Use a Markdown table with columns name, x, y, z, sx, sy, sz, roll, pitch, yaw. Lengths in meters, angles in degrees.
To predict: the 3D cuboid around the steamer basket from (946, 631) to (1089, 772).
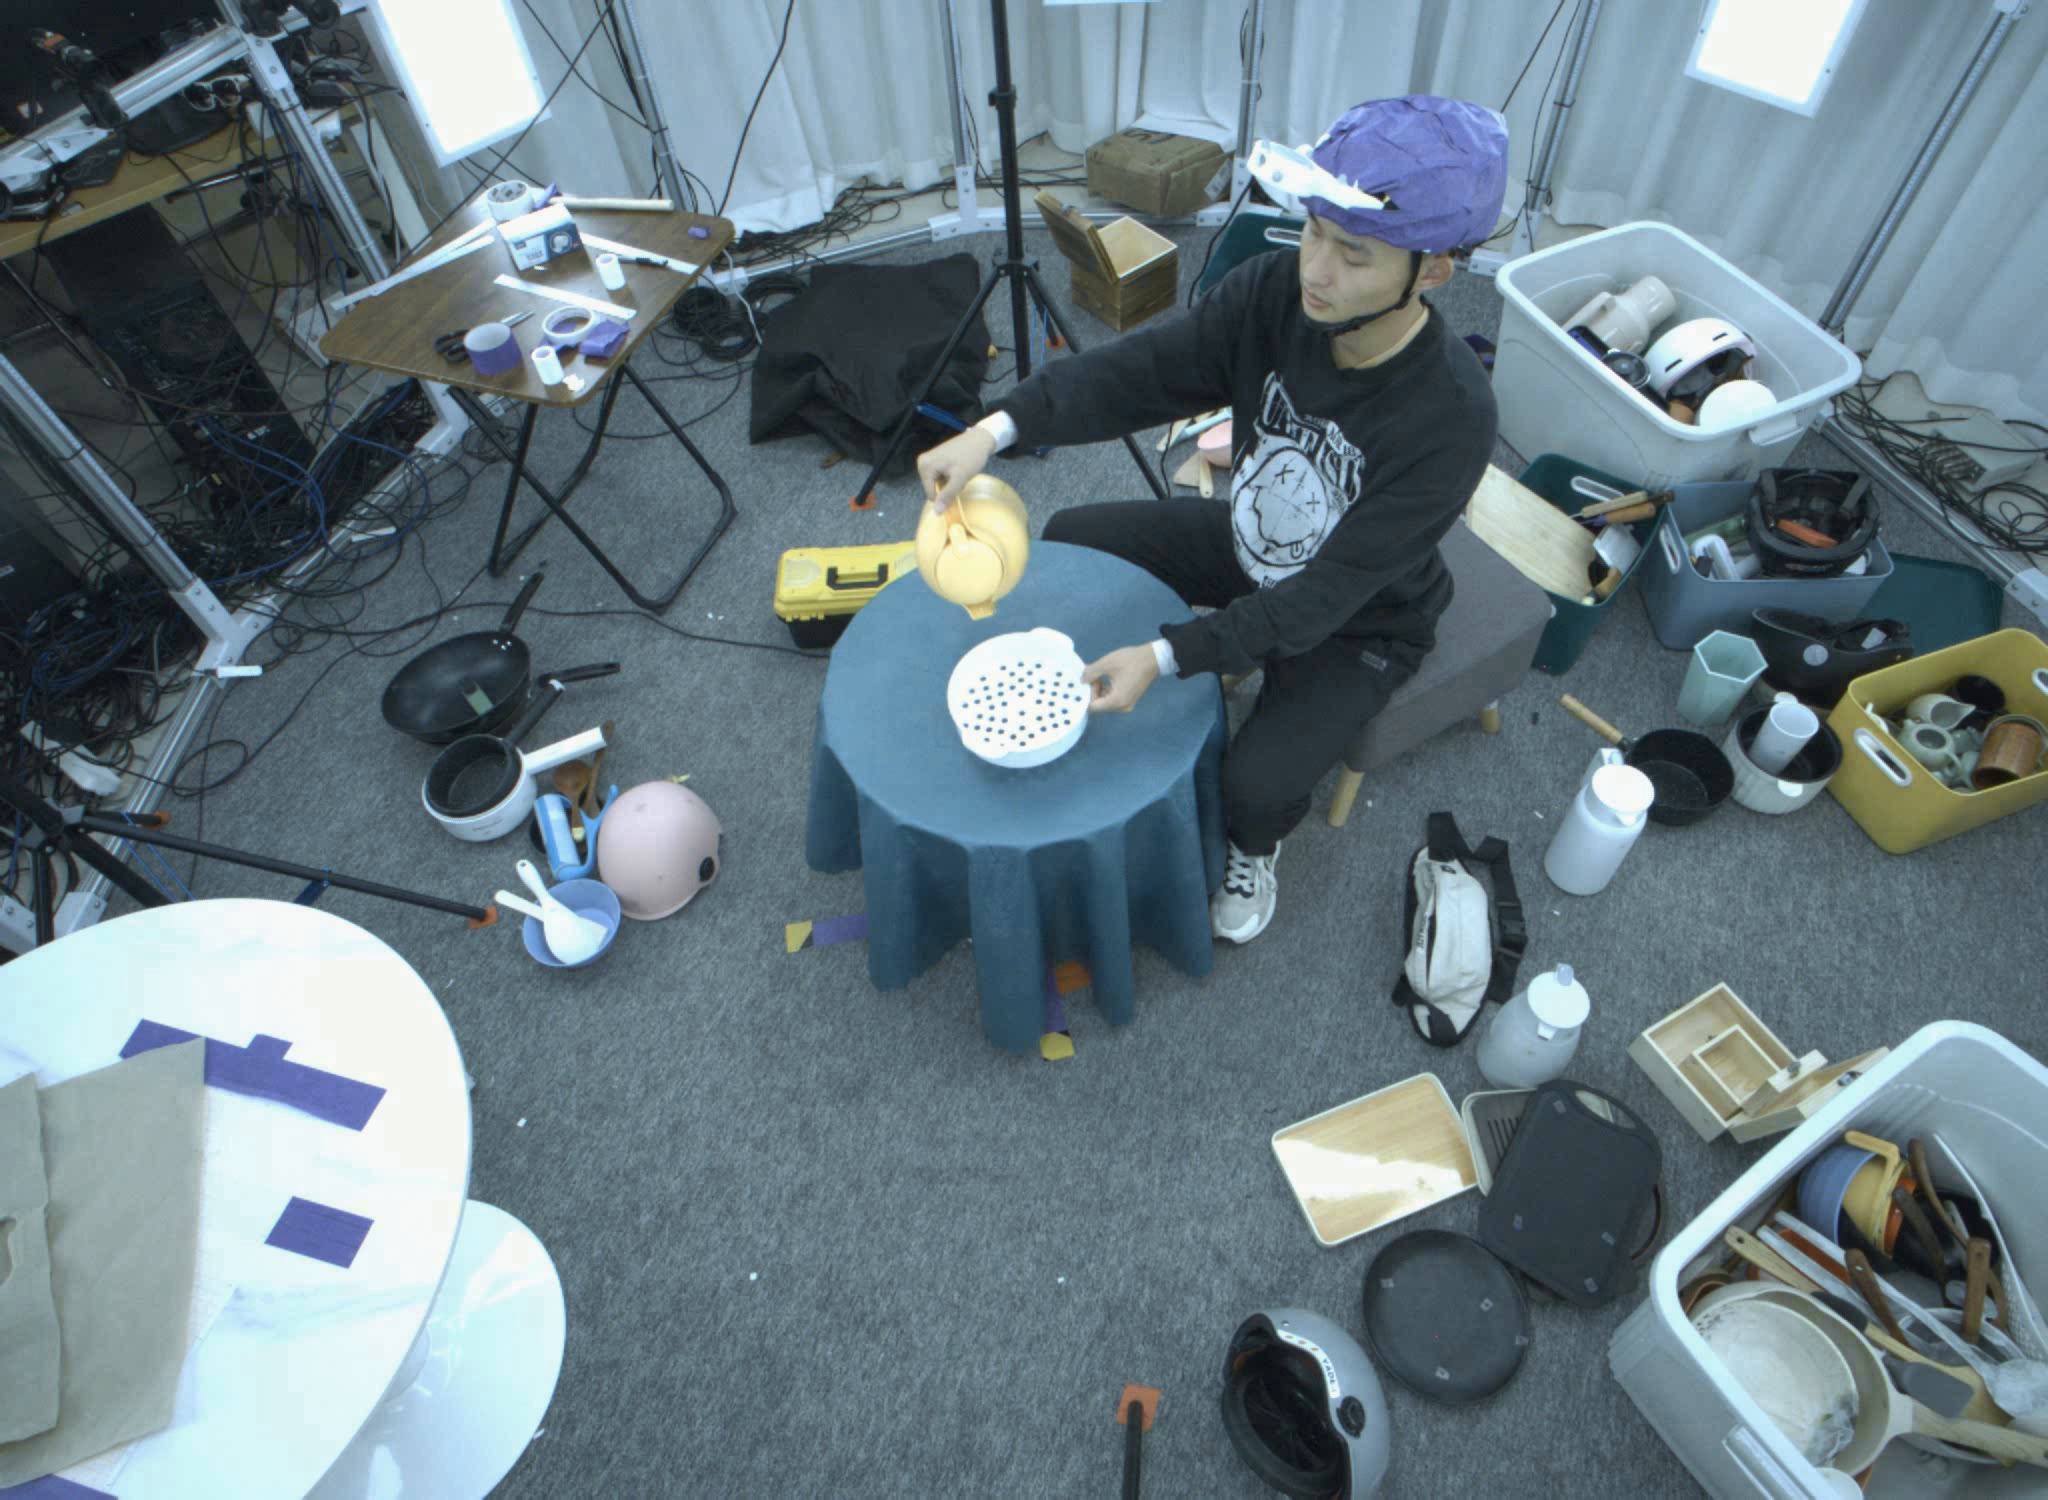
| name | x | y | z | sx | sy | sz | roll | pitch | yaw |
| --- | --- | --- | --- | --- | --- | --- | --- | --- | --- |
| steamer basket | -0.008 | -0.064 | 1.749 | 0.199 | 0.070 | 0.231 | 23 | 64 | 16 |

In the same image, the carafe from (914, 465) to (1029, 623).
| name | x | y | z | sx | sy | sz | roll | pitch | yaw |
| --- | --- | --- | --- | --- | --- | --- | --- | --- | --- |
| carafe | -0.077 | -0.303 | 1.704 | 0.163 | 0.205 | 0.257 | -12 | 29 | 2 |
